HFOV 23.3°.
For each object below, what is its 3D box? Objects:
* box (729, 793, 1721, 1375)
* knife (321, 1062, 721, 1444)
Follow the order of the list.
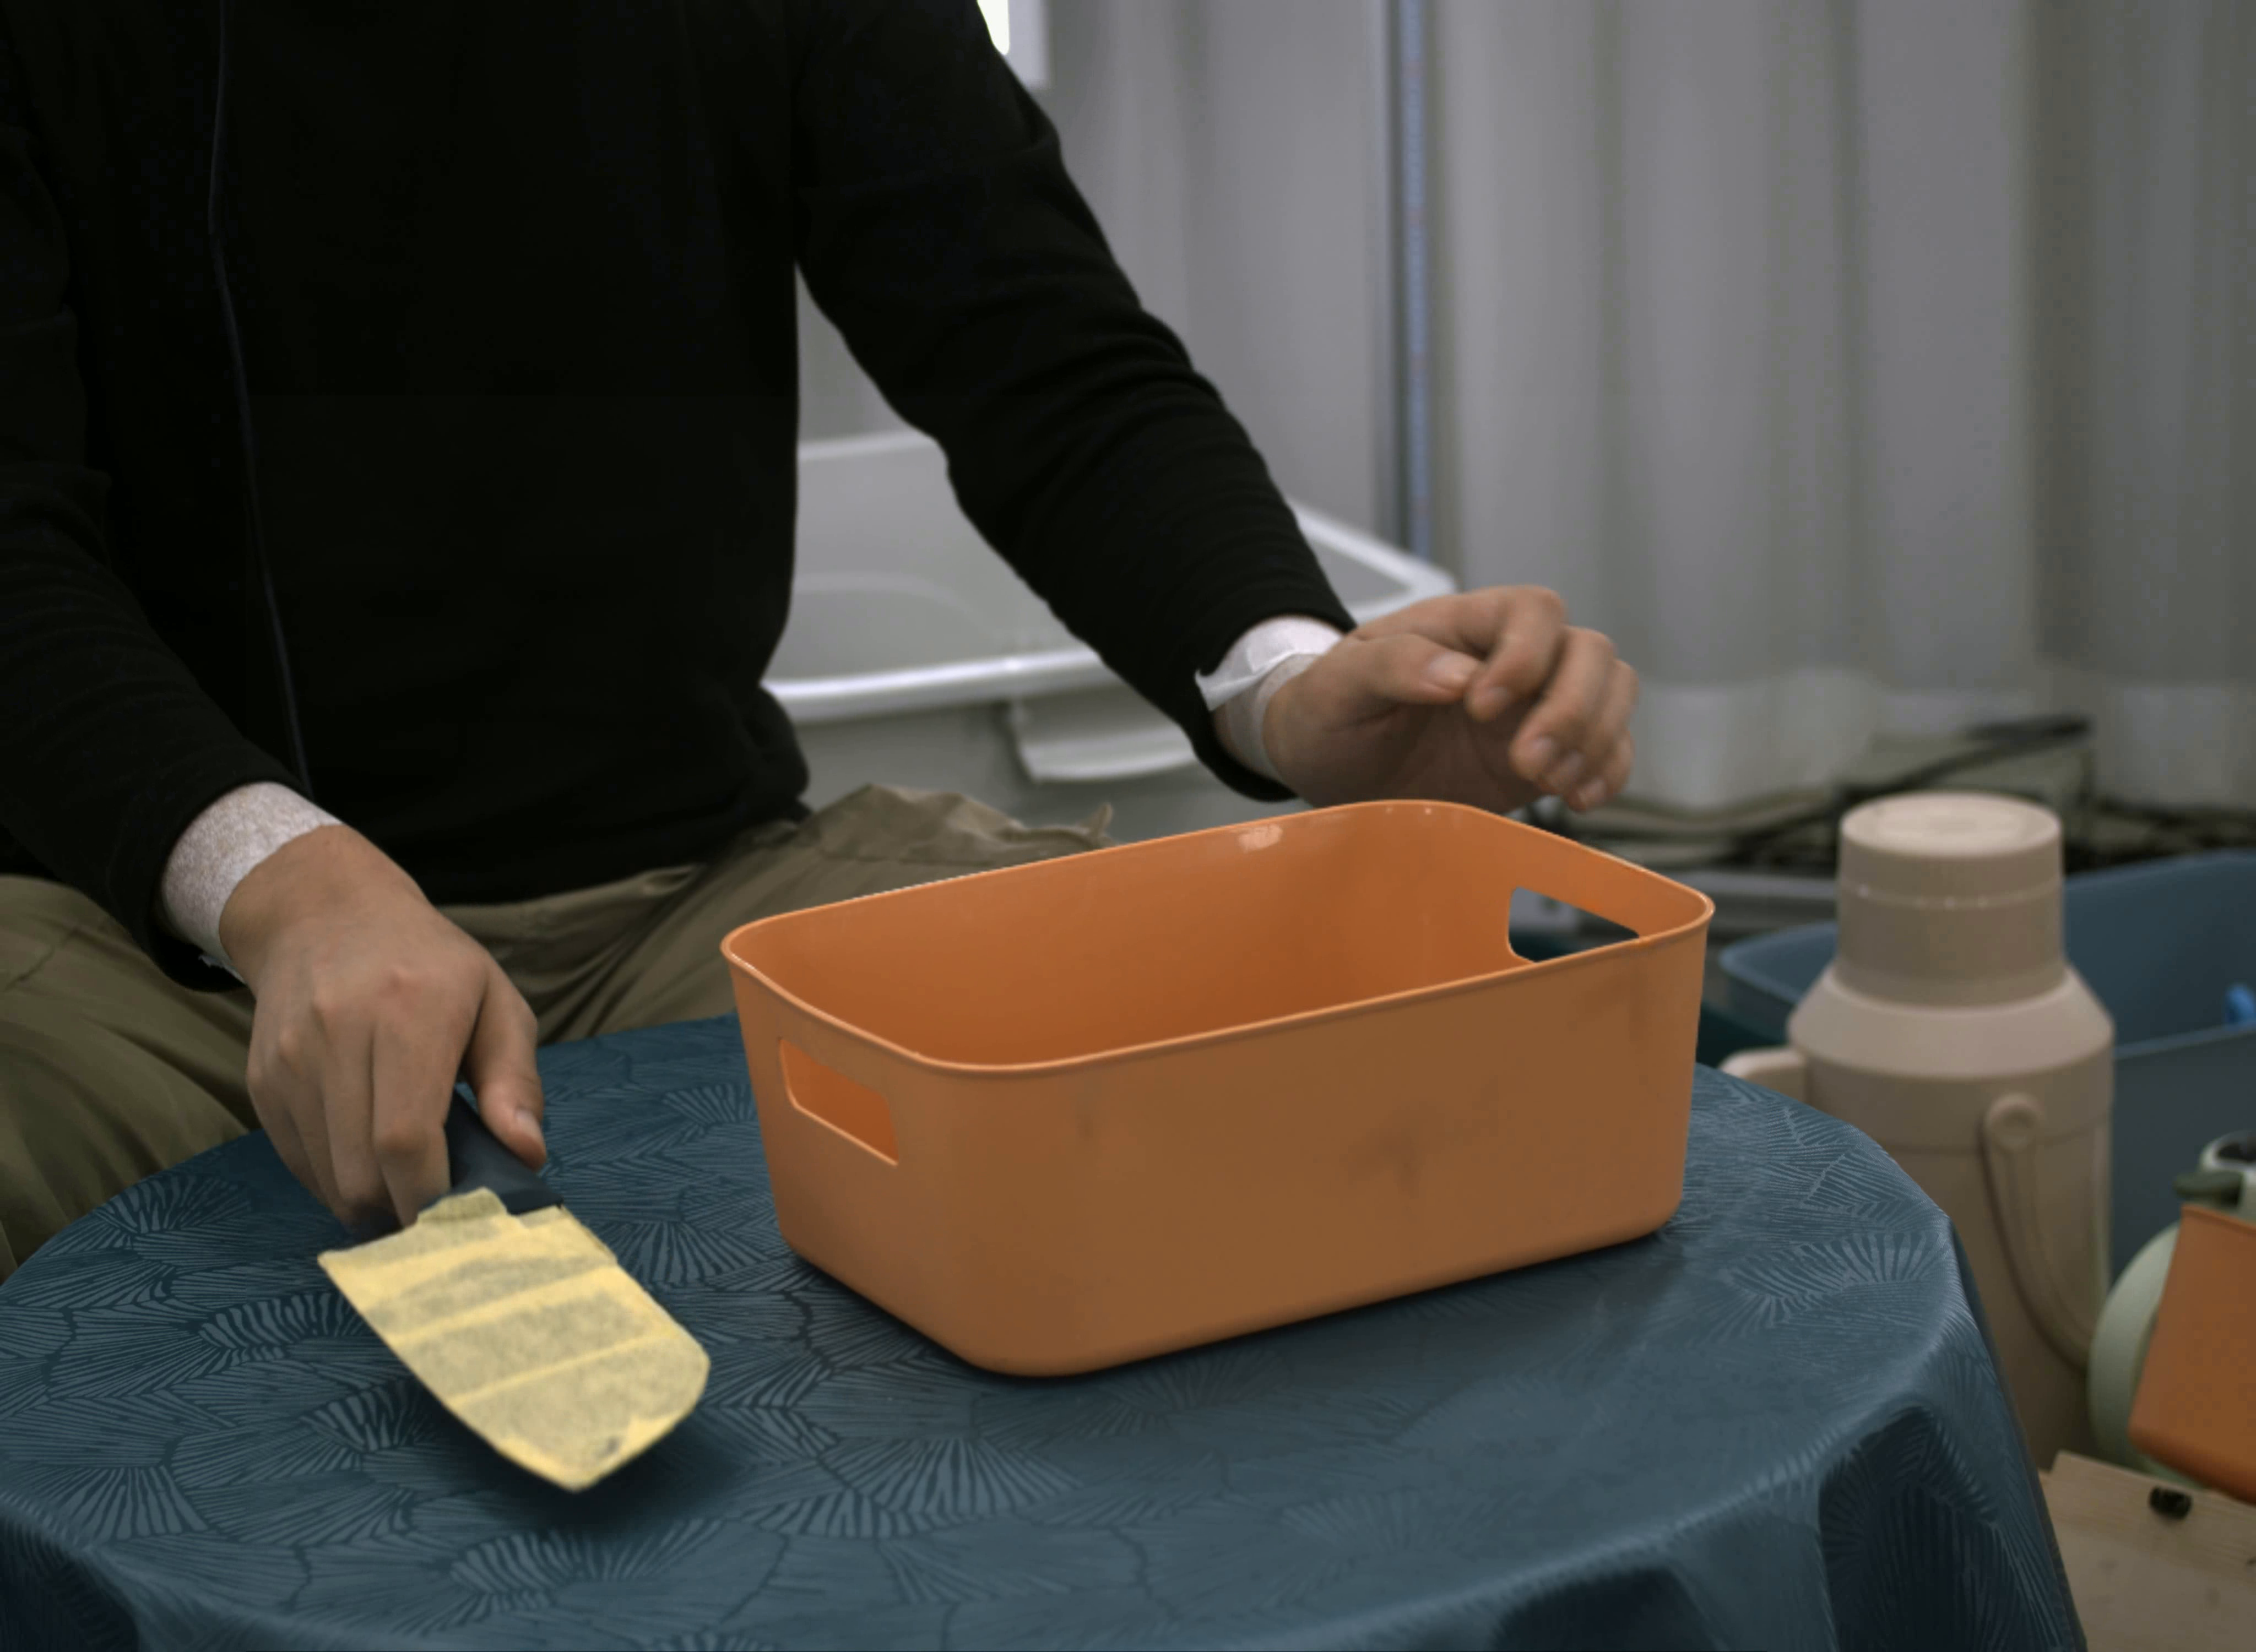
[{"bbox_3d":[0.029,0.075,1.656,0.272,0.102,0.201,-11,17,-27],"label":"box"},{"bbox_3d":[-0.190,0.124,1.583,0.080,0.027,0.292,-10,20,-21],"label":"knife"}]
